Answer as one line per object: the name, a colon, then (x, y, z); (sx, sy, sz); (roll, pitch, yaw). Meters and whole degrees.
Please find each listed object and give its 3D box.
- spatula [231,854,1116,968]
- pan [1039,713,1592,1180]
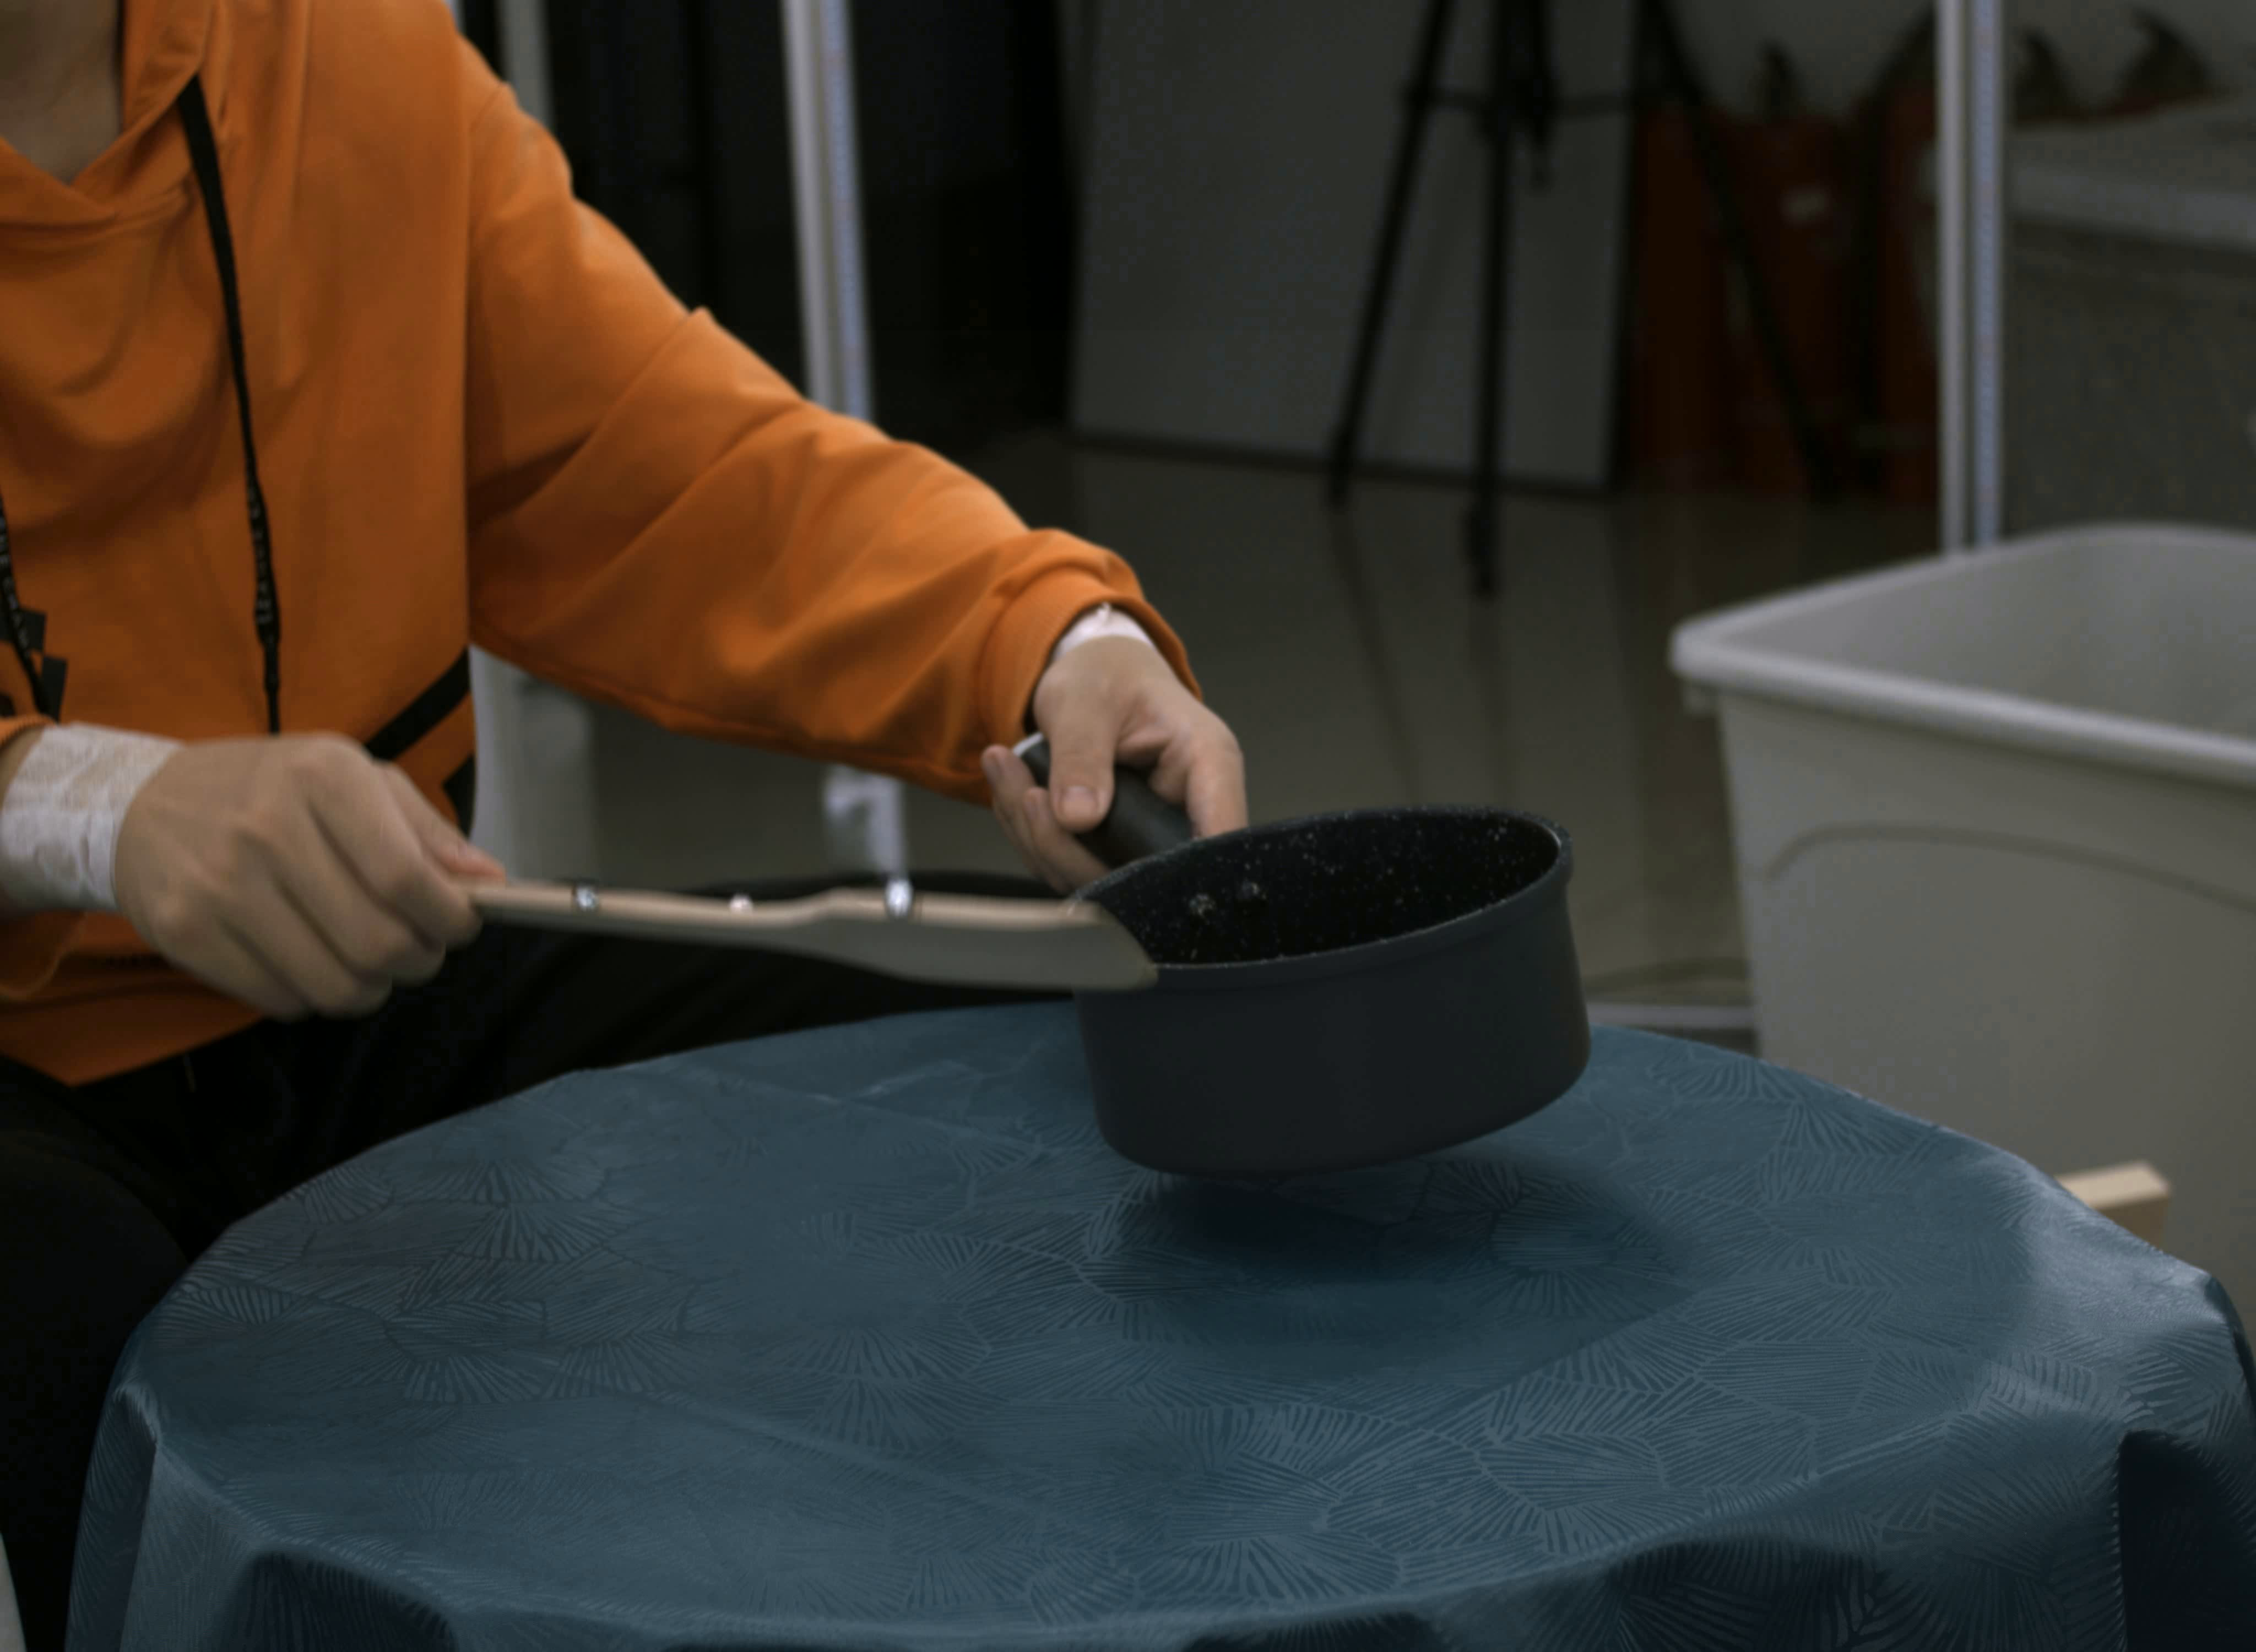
spatula: (-0.146, 0.022, 1.643); (0.293, 0.011, 0.071); (3, -18, 25)
pan: (0.038, 0.034, 1.803); (0.169, 0.087, 0.331); (-14, 15, -15)
